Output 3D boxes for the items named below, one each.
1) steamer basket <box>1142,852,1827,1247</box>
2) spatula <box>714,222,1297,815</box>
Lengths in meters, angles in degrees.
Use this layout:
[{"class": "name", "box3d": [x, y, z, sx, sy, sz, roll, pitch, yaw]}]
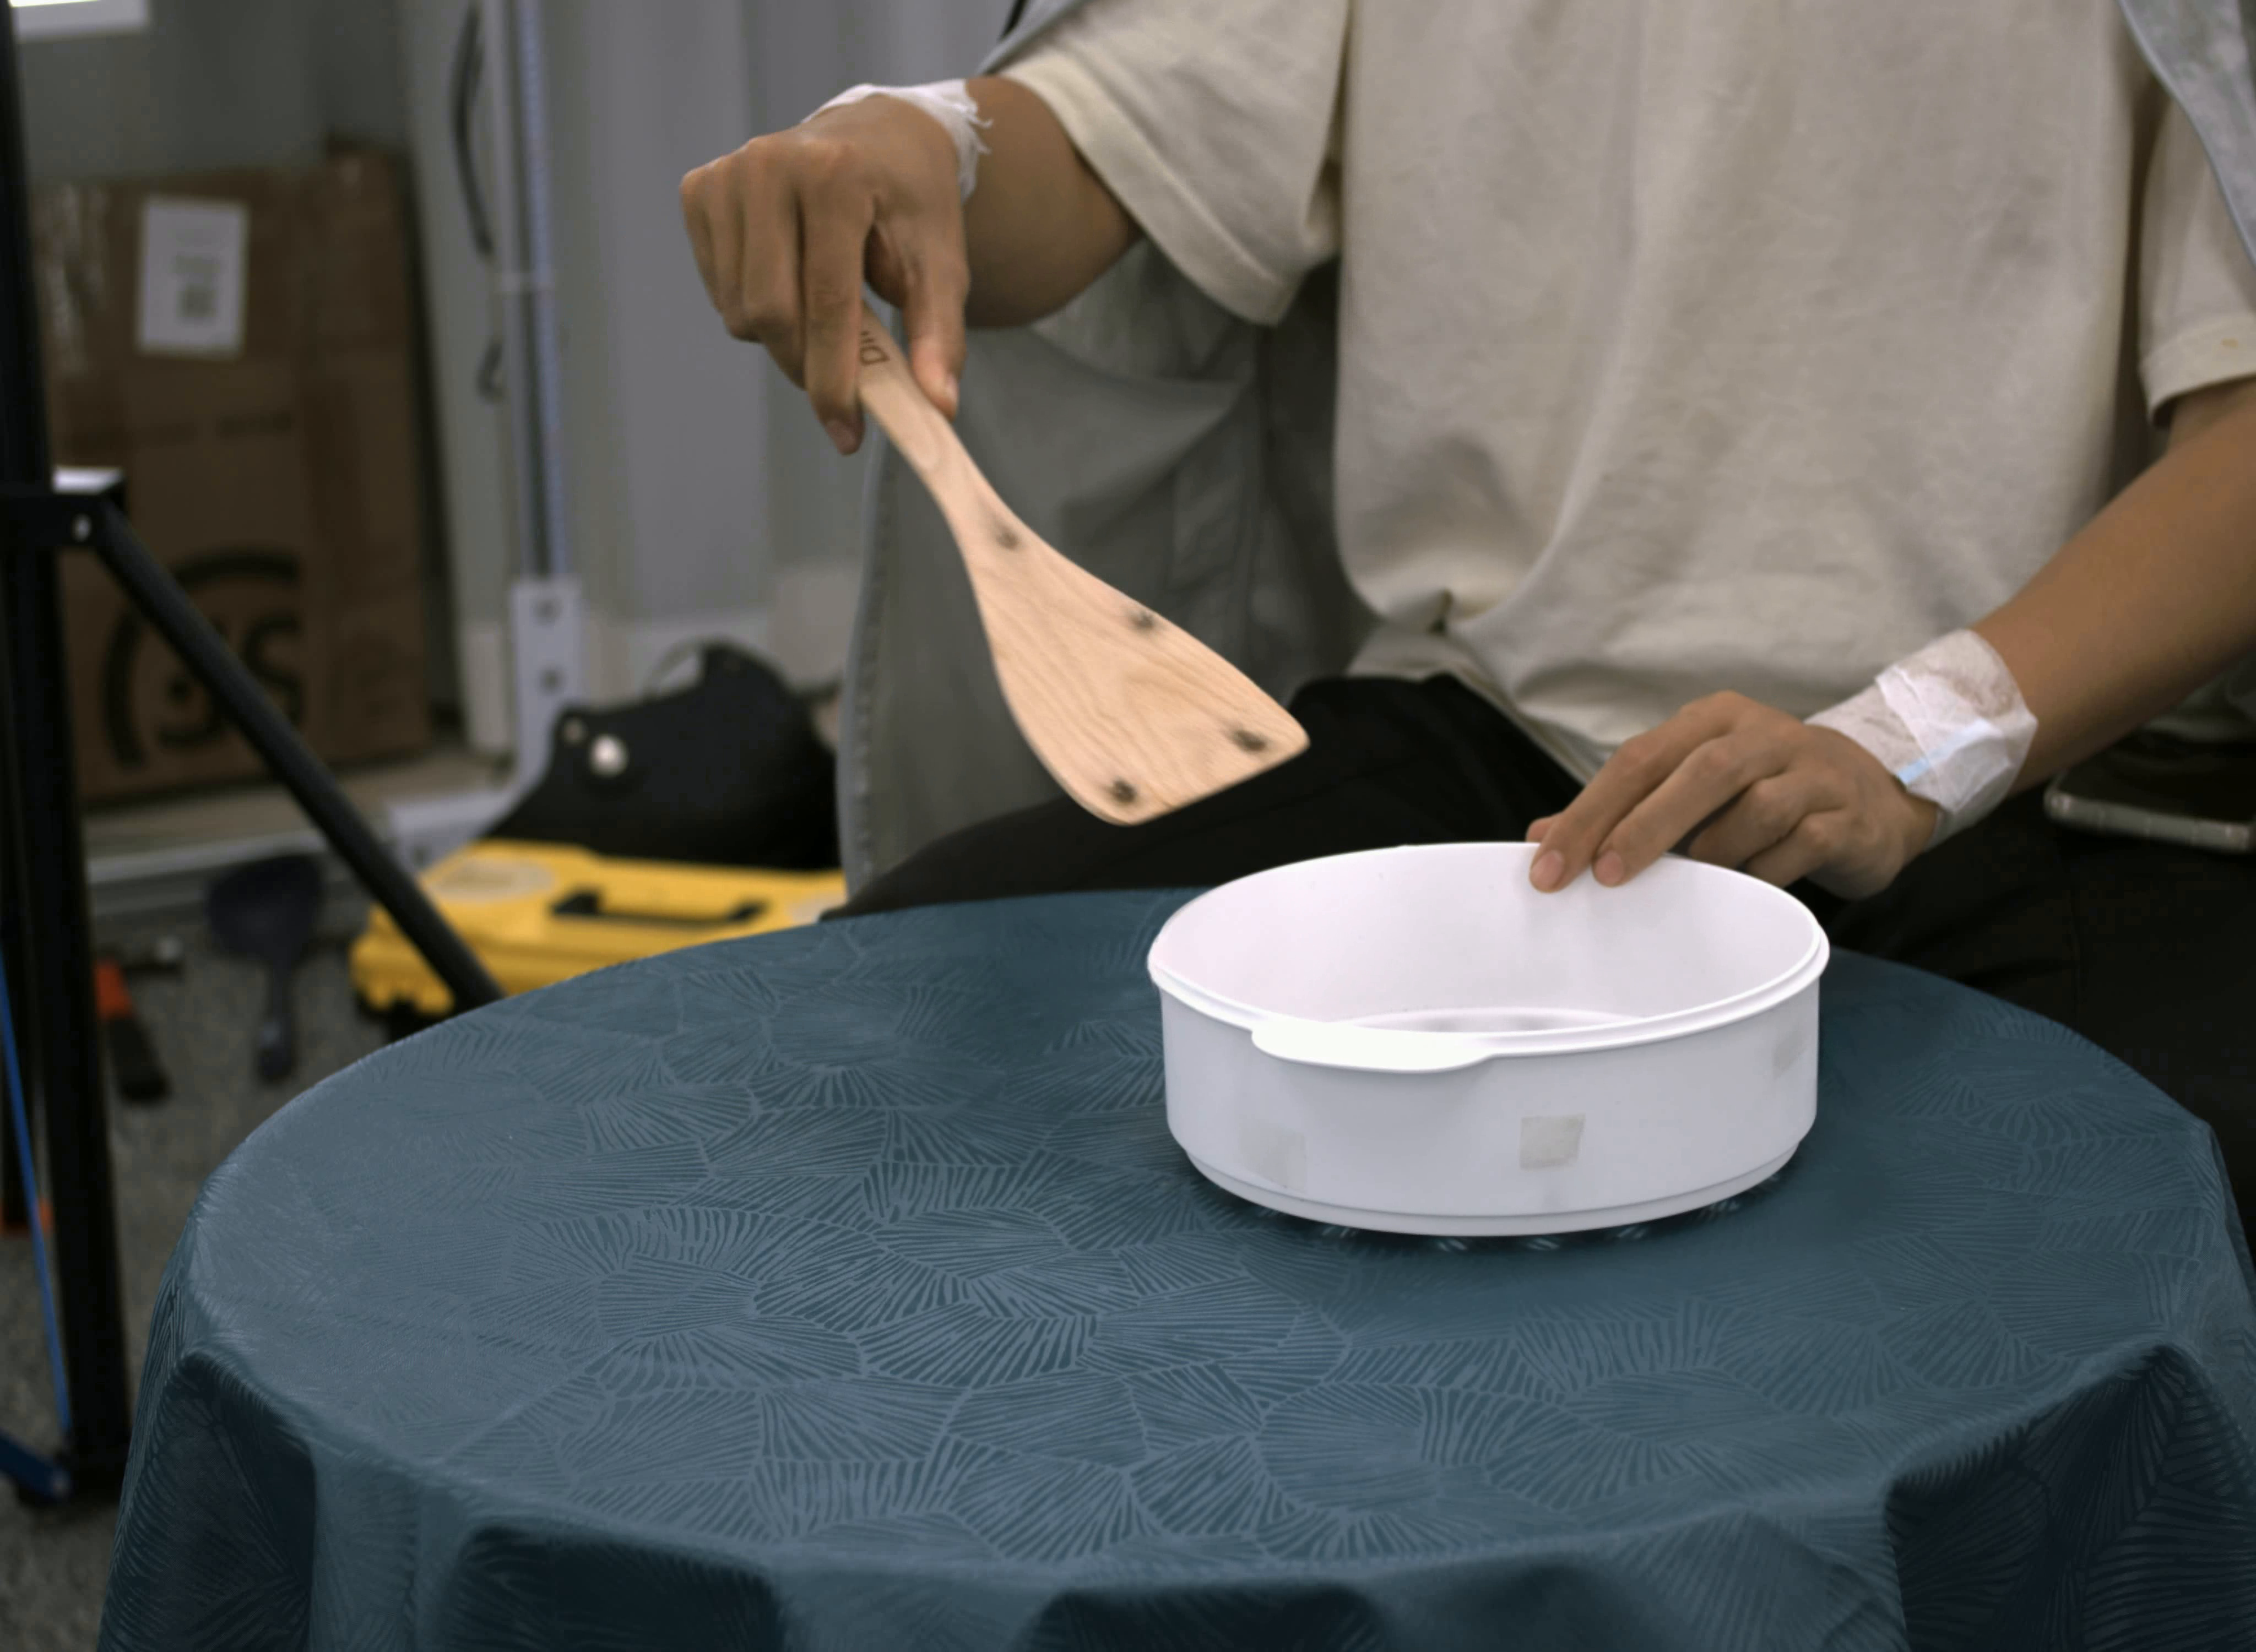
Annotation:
[{"class": "steamer basket", "box3d": [0.105, 0.066, 1.568, 0.205, 0.069, 0.227, 6, 17, 25]}, {"class": "spatula", "box3d": [-0.052, -0.105, 1.682, 0.078, 0.016, 0.335, -16, 44, -23]}]
